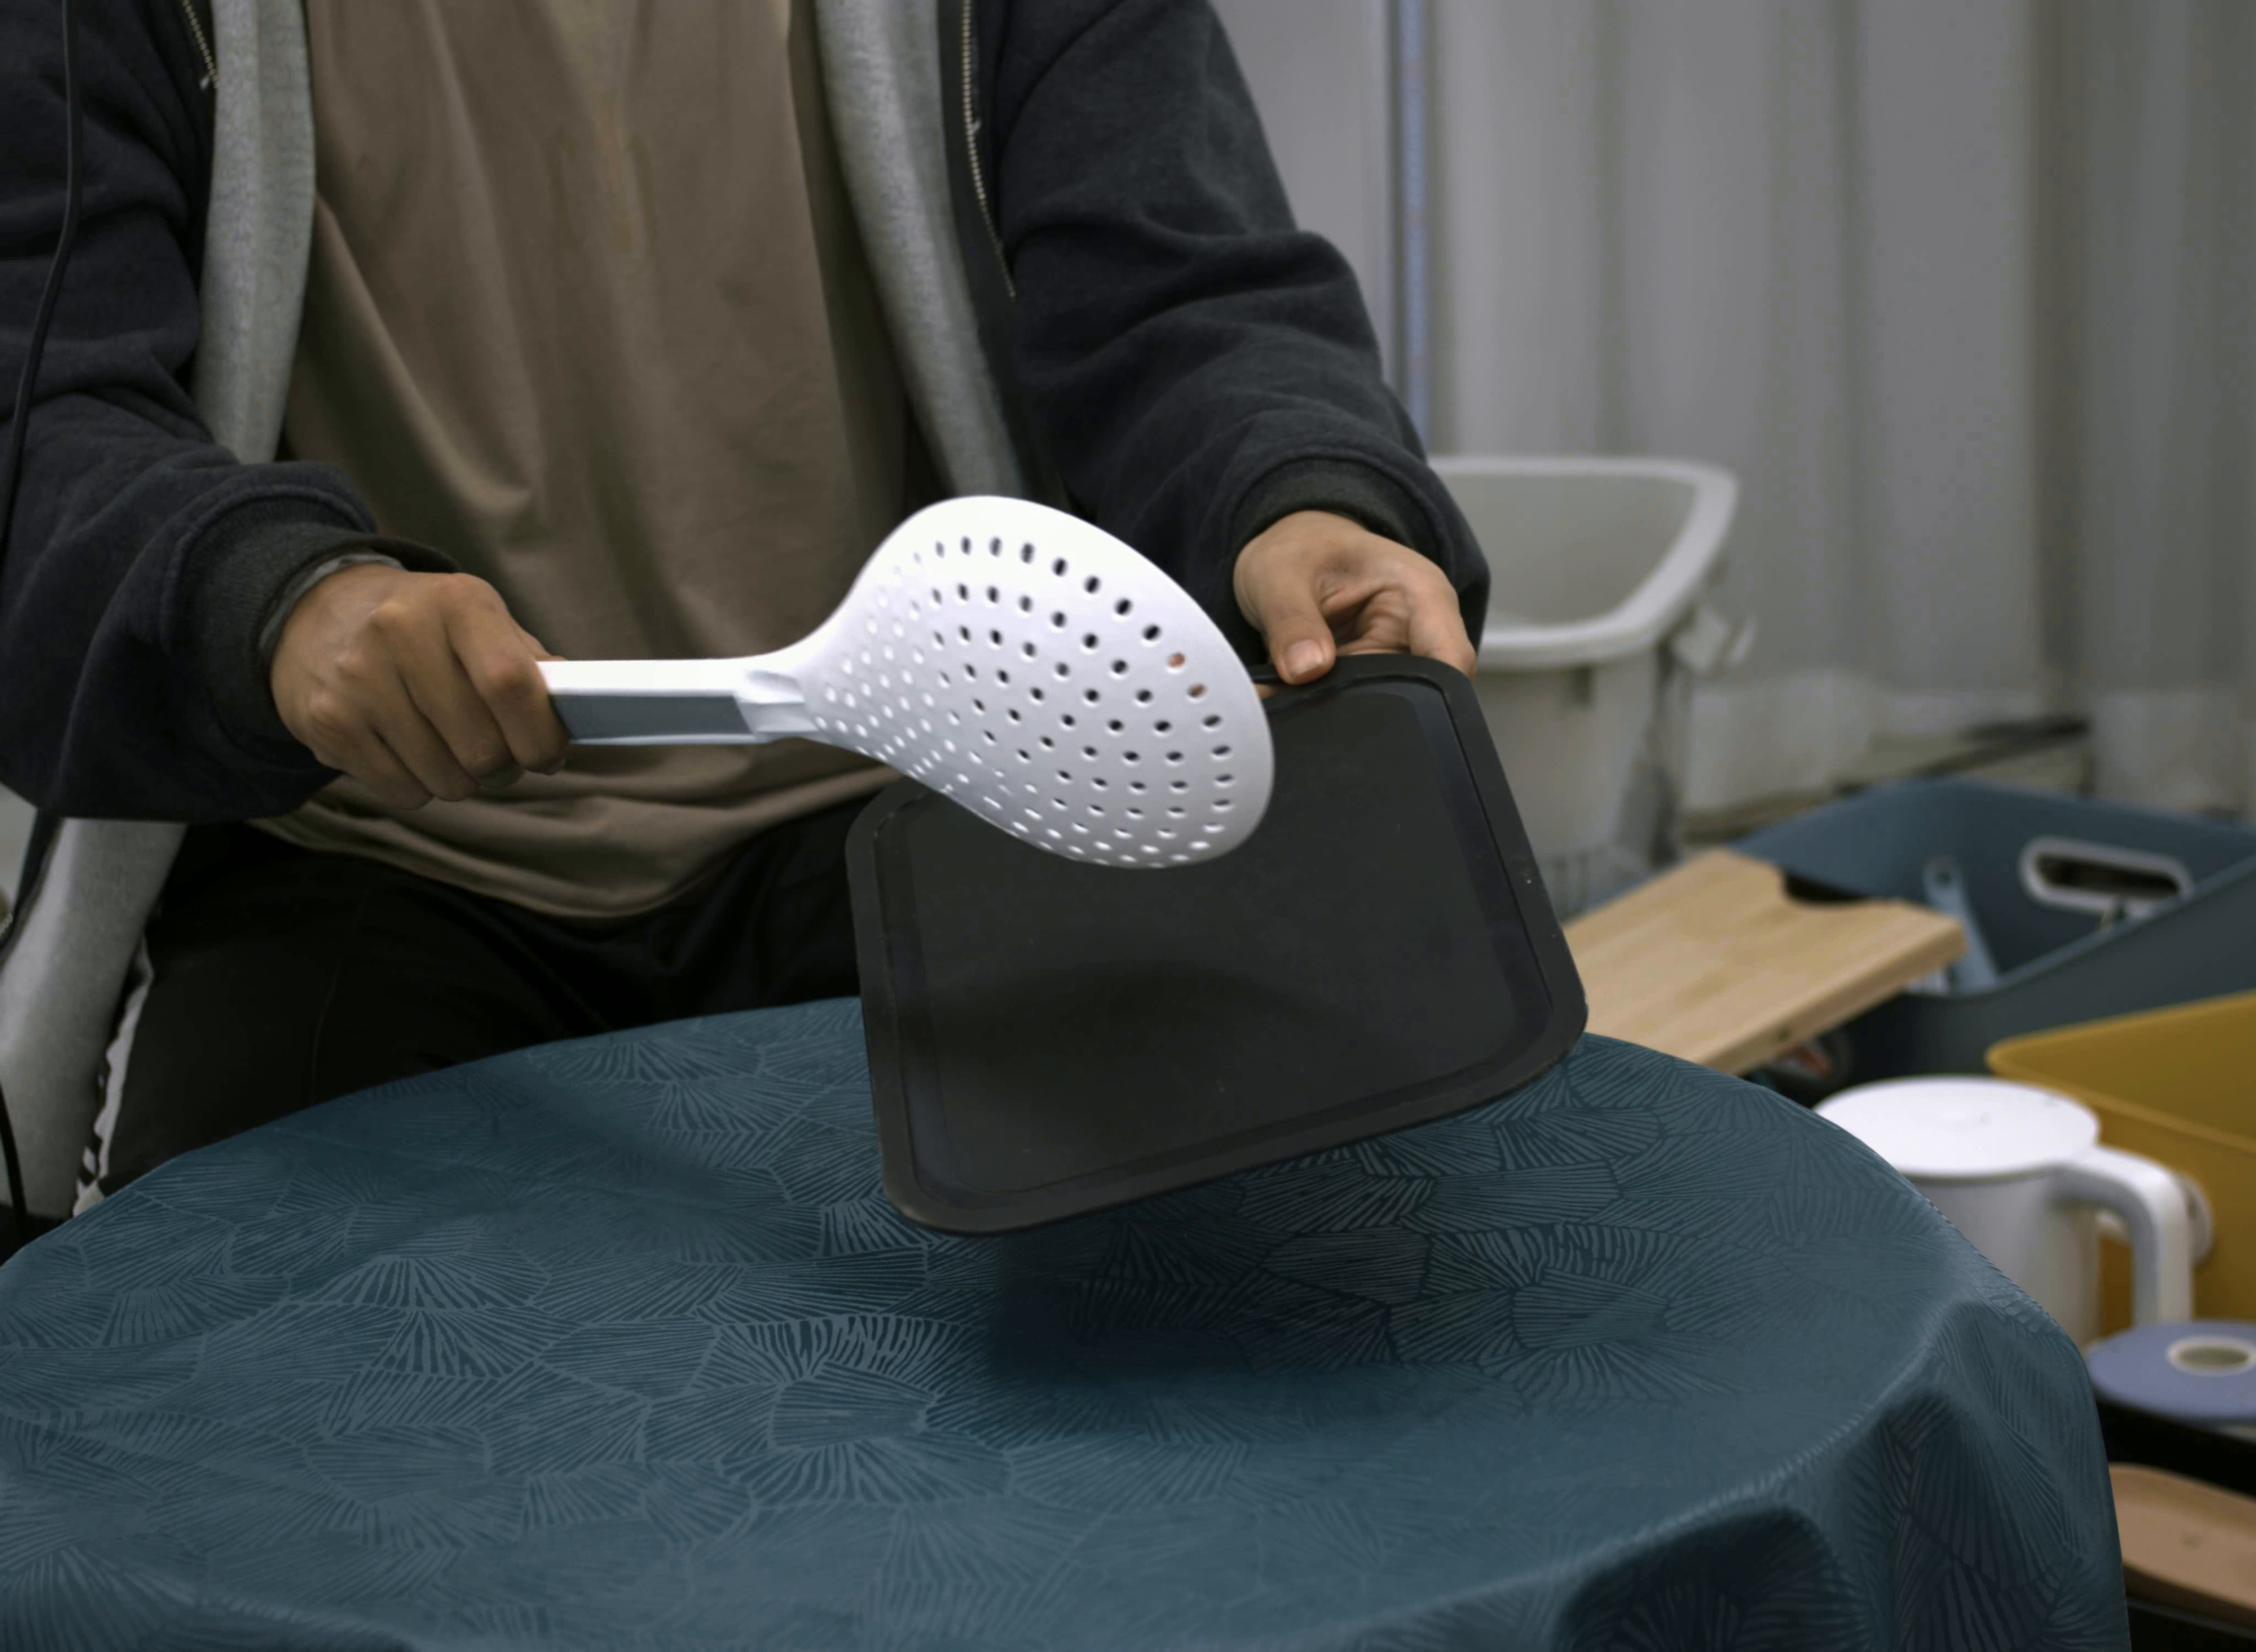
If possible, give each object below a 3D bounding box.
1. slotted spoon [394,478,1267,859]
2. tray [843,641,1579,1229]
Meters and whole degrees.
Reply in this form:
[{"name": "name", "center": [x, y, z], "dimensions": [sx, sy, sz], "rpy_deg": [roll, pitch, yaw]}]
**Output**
[{"name": "slotted spoon", "center": [-0.103, -0.042, 1.678], "dimensions": [0.351, 0.134, 0.046], "rpy_deg": [4, 39, 45]}, {"name": "tray", "center": [0.017, 0.023, 1.674], "dimensions": [0.210, 0.010, 0.329], "rpy_deg": [-15, 27, 2]}]
